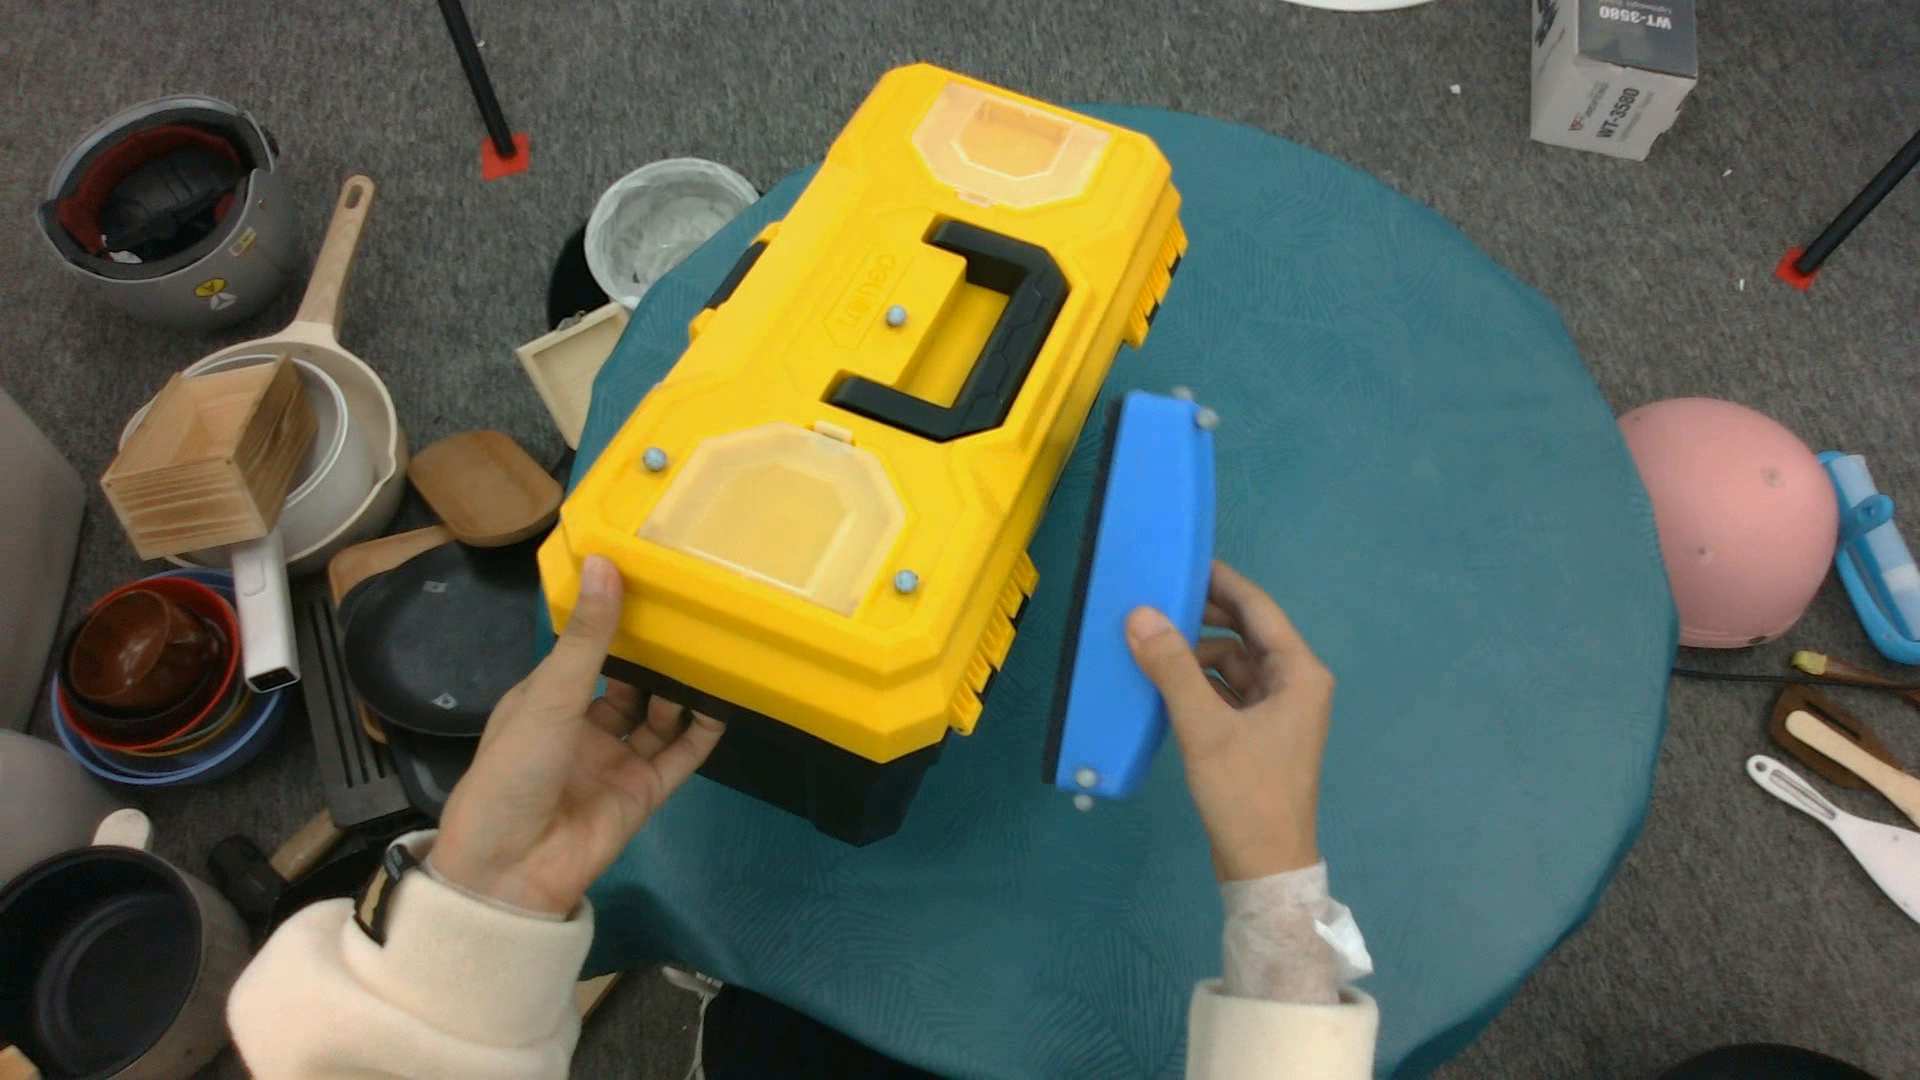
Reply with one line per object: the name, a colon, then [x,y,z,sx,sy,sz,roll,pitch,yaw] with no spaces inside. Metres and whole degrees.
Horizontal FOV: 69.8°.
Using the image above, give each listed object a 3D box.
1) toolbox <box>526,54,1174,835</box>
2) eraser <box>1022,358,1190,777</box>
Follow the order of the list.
toolbox: [-0.035,-0.053,0.634,0.181,0.172,0.353,21,53,8]
eraser: [0.061,0.012,0.536,0.047,0.054,0.162,8,94,18]
